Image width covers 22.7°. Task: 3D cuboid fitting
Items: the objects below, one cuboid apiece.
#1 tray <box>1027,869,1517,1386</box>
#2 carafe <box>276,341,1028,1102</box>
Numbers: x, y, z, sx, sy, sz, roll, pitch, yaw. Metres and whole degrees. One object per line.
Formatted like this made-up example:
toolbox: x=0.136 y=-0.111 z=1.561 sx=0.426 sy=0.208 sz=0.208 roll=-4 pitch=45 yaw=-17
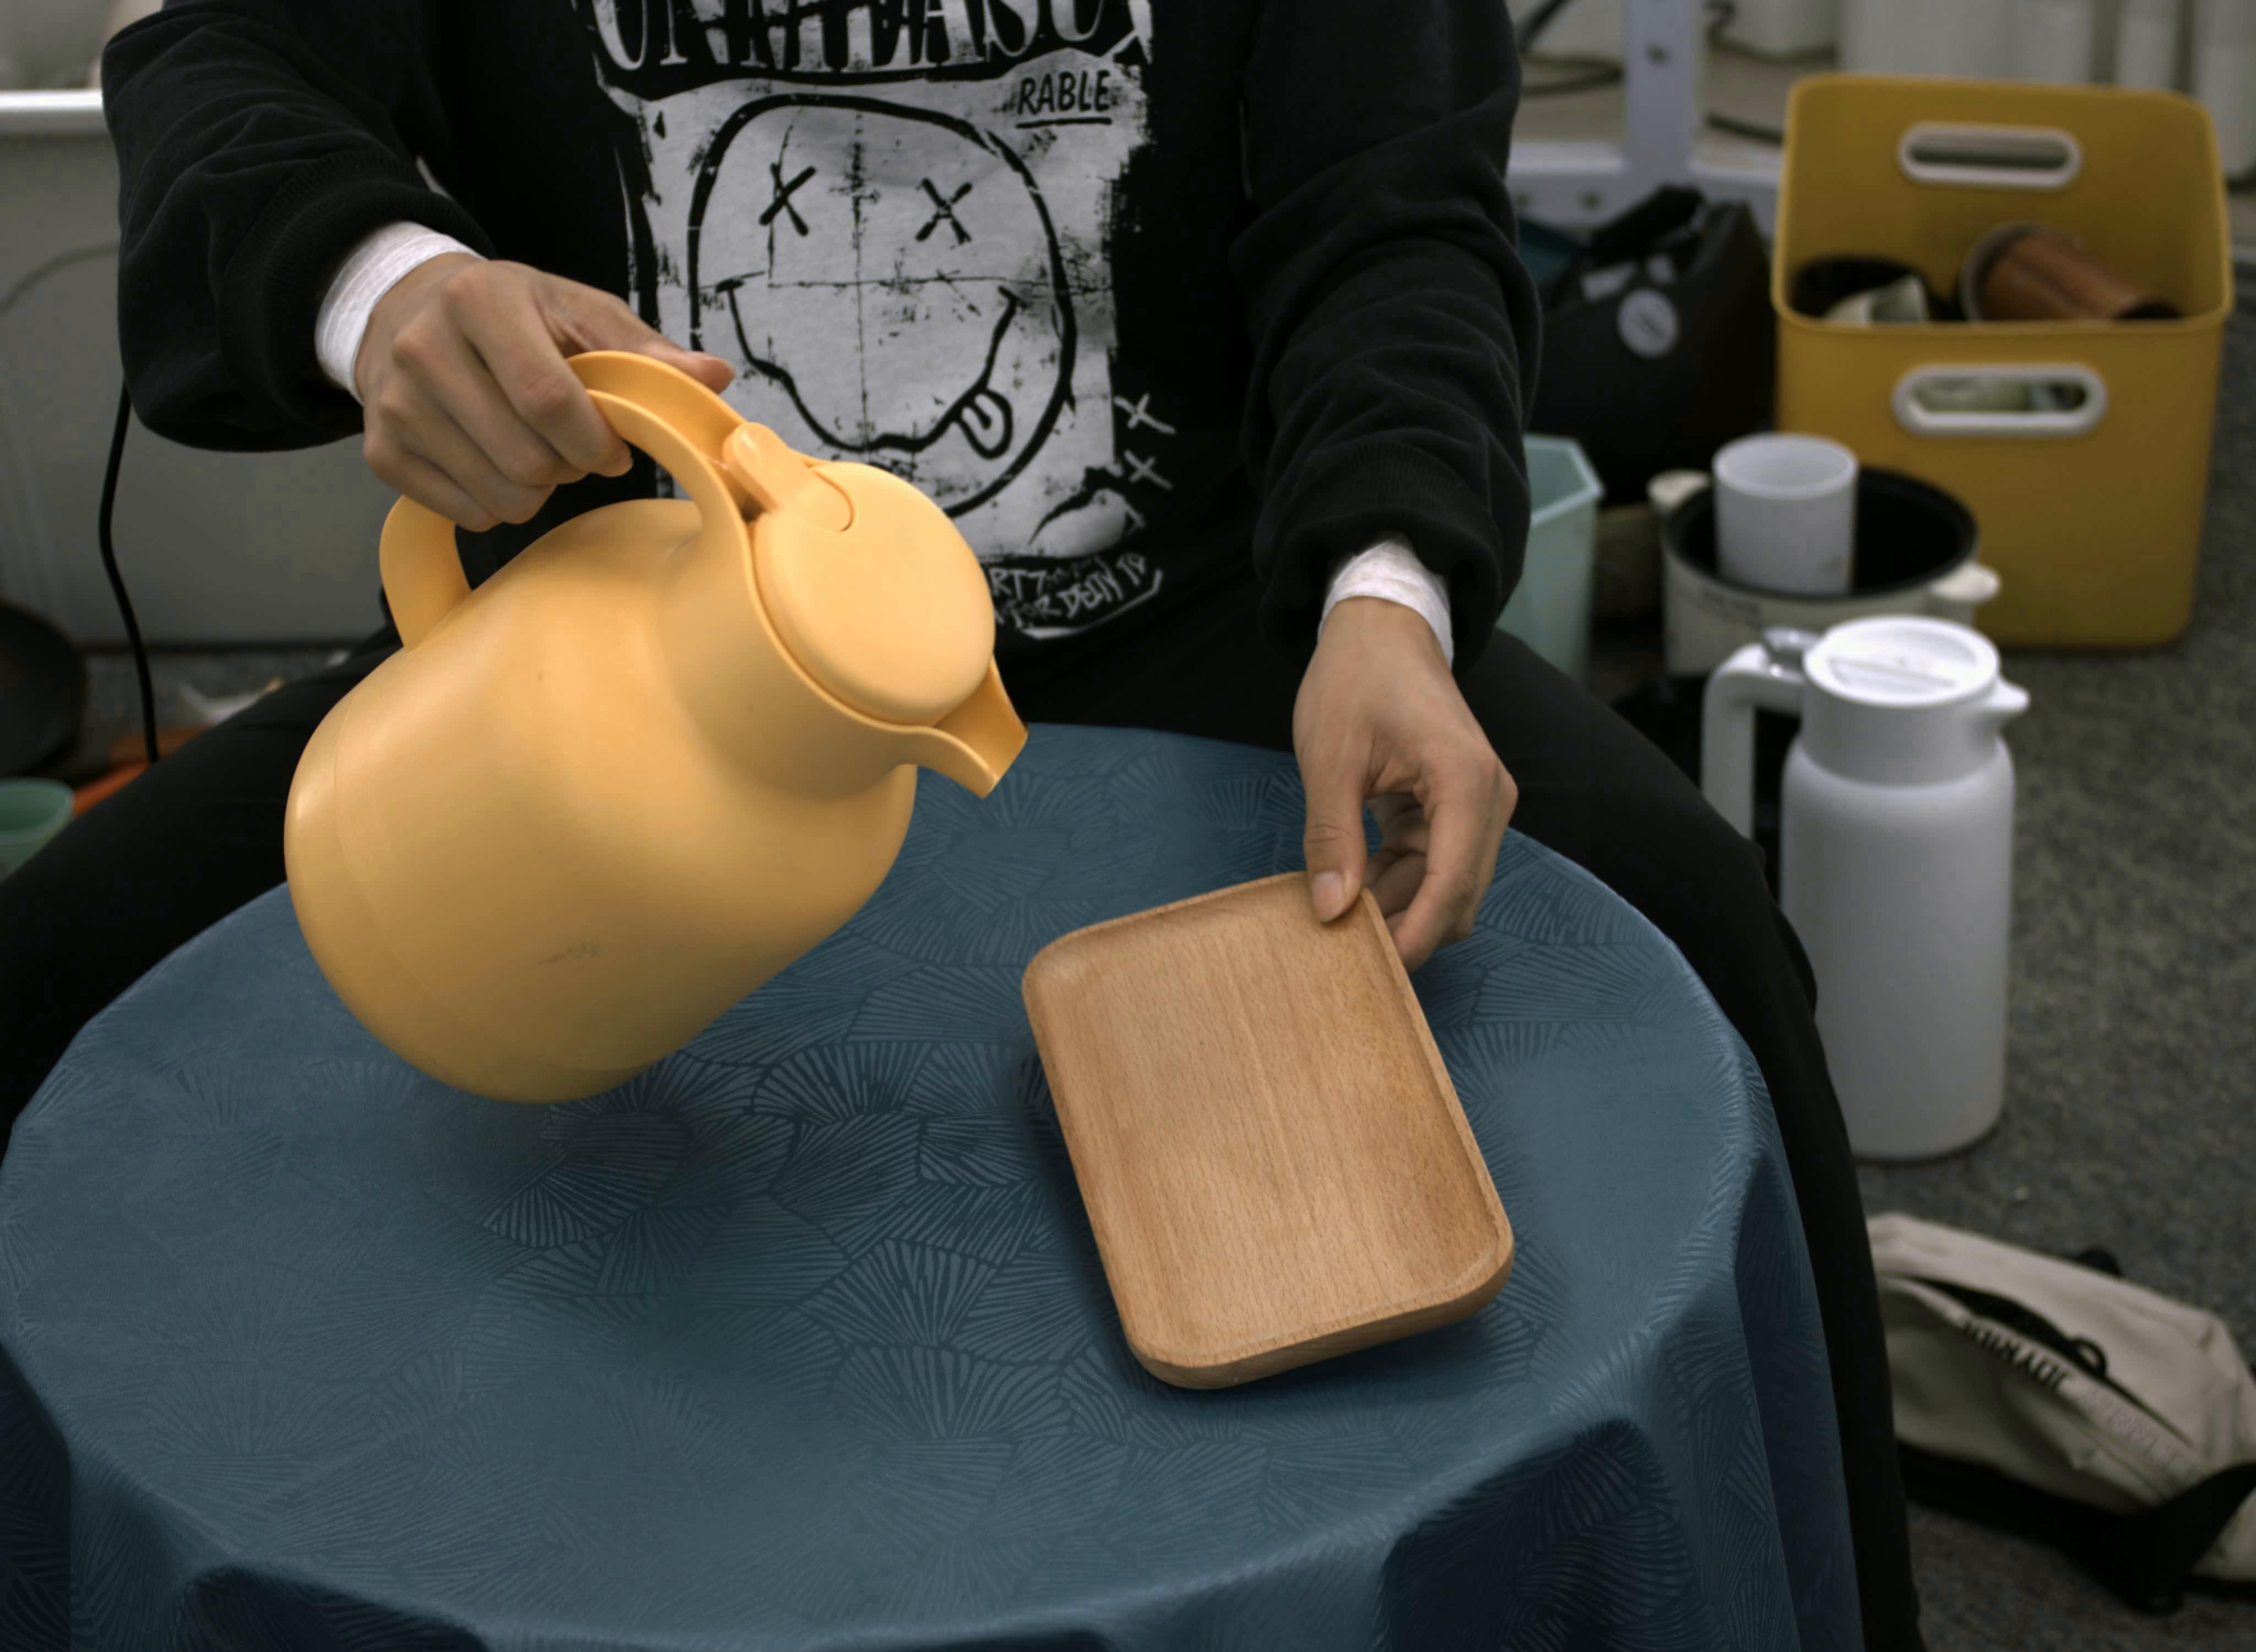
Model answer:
tray: x=0.044 y=0.096 z=1.849 sx=0.130 sy=0.022 sz=0.254 roll=-12 pitch=32 yaw=-3
carafe: x=-0.164 y=-0.040 z=1.830 sx=0.256 sy=0.202 sz=0.166 roll=-34 pitch=9 yaw=38
